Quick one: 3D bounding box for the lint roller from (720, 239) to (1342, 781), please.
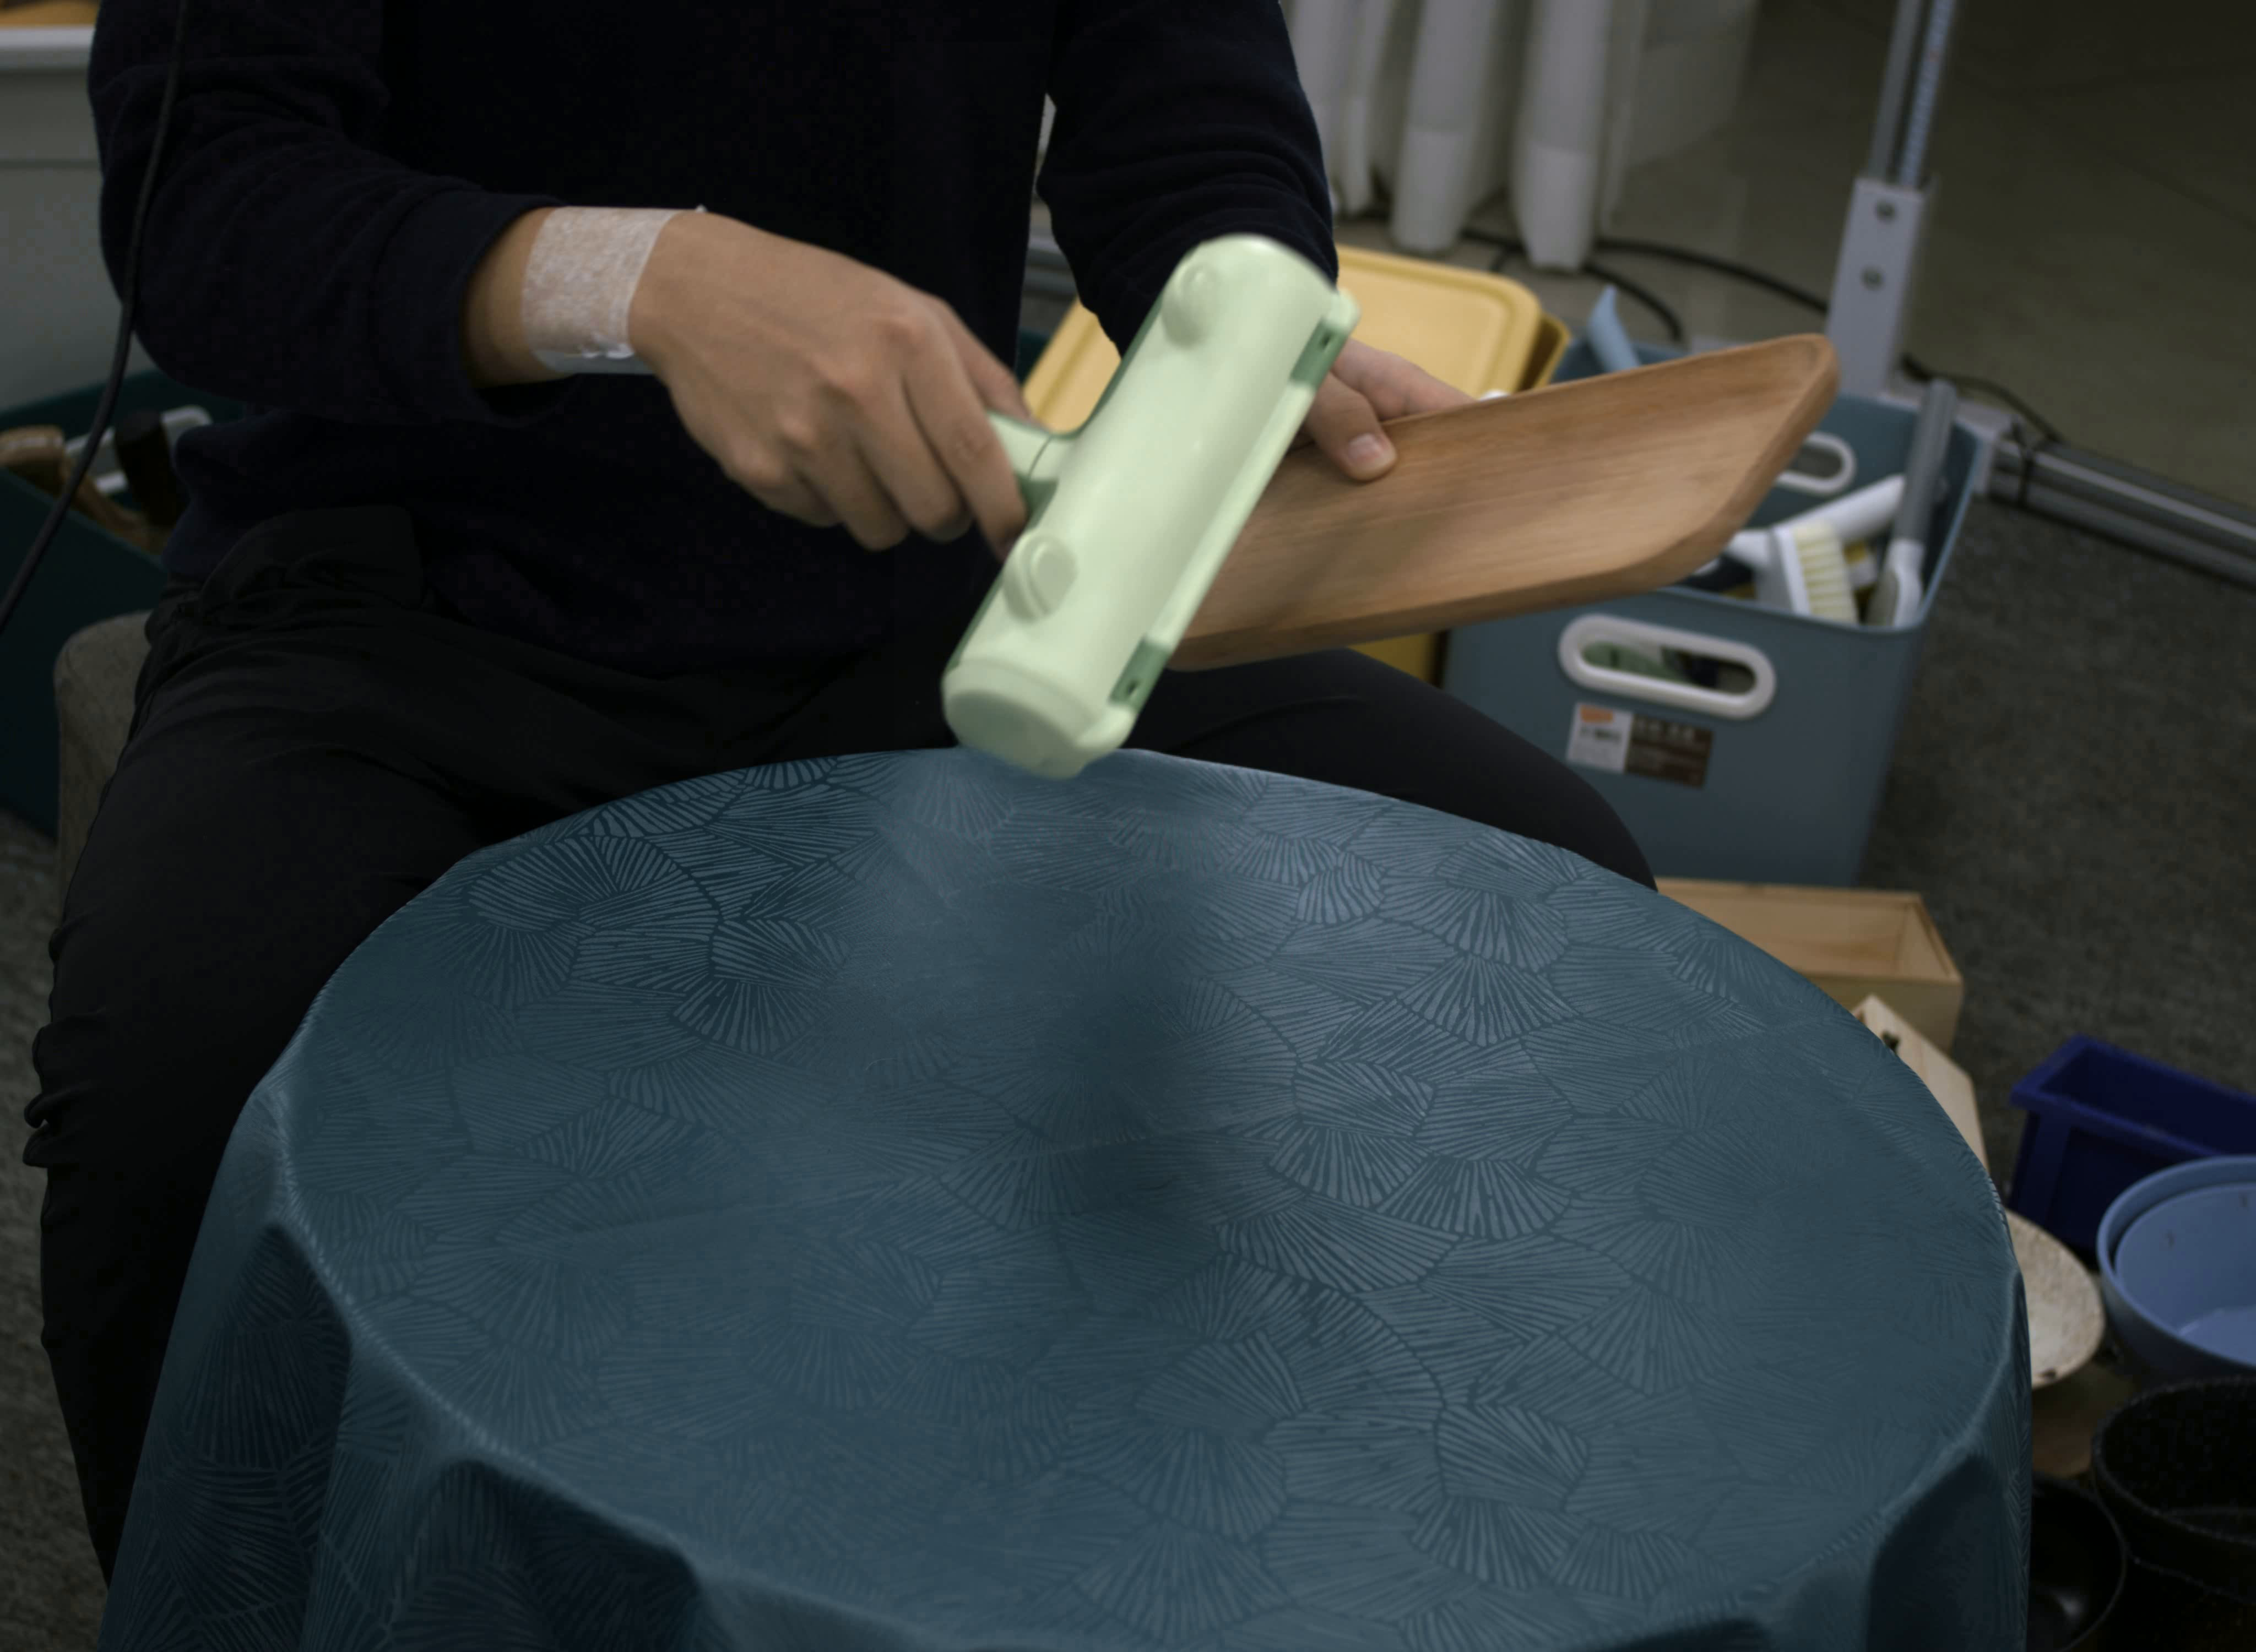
[{"bbox_3d":[-0.050,-0.128,1.716,0.183,0.082,0.199,23,61,11],"label":"lint roller"}]

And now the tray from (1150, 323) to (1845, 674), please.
[{"bbox_3d":[0.116,-0.103,1.730,0.251,0.023,0.130,-9,30,46],"label":"tray"}]
